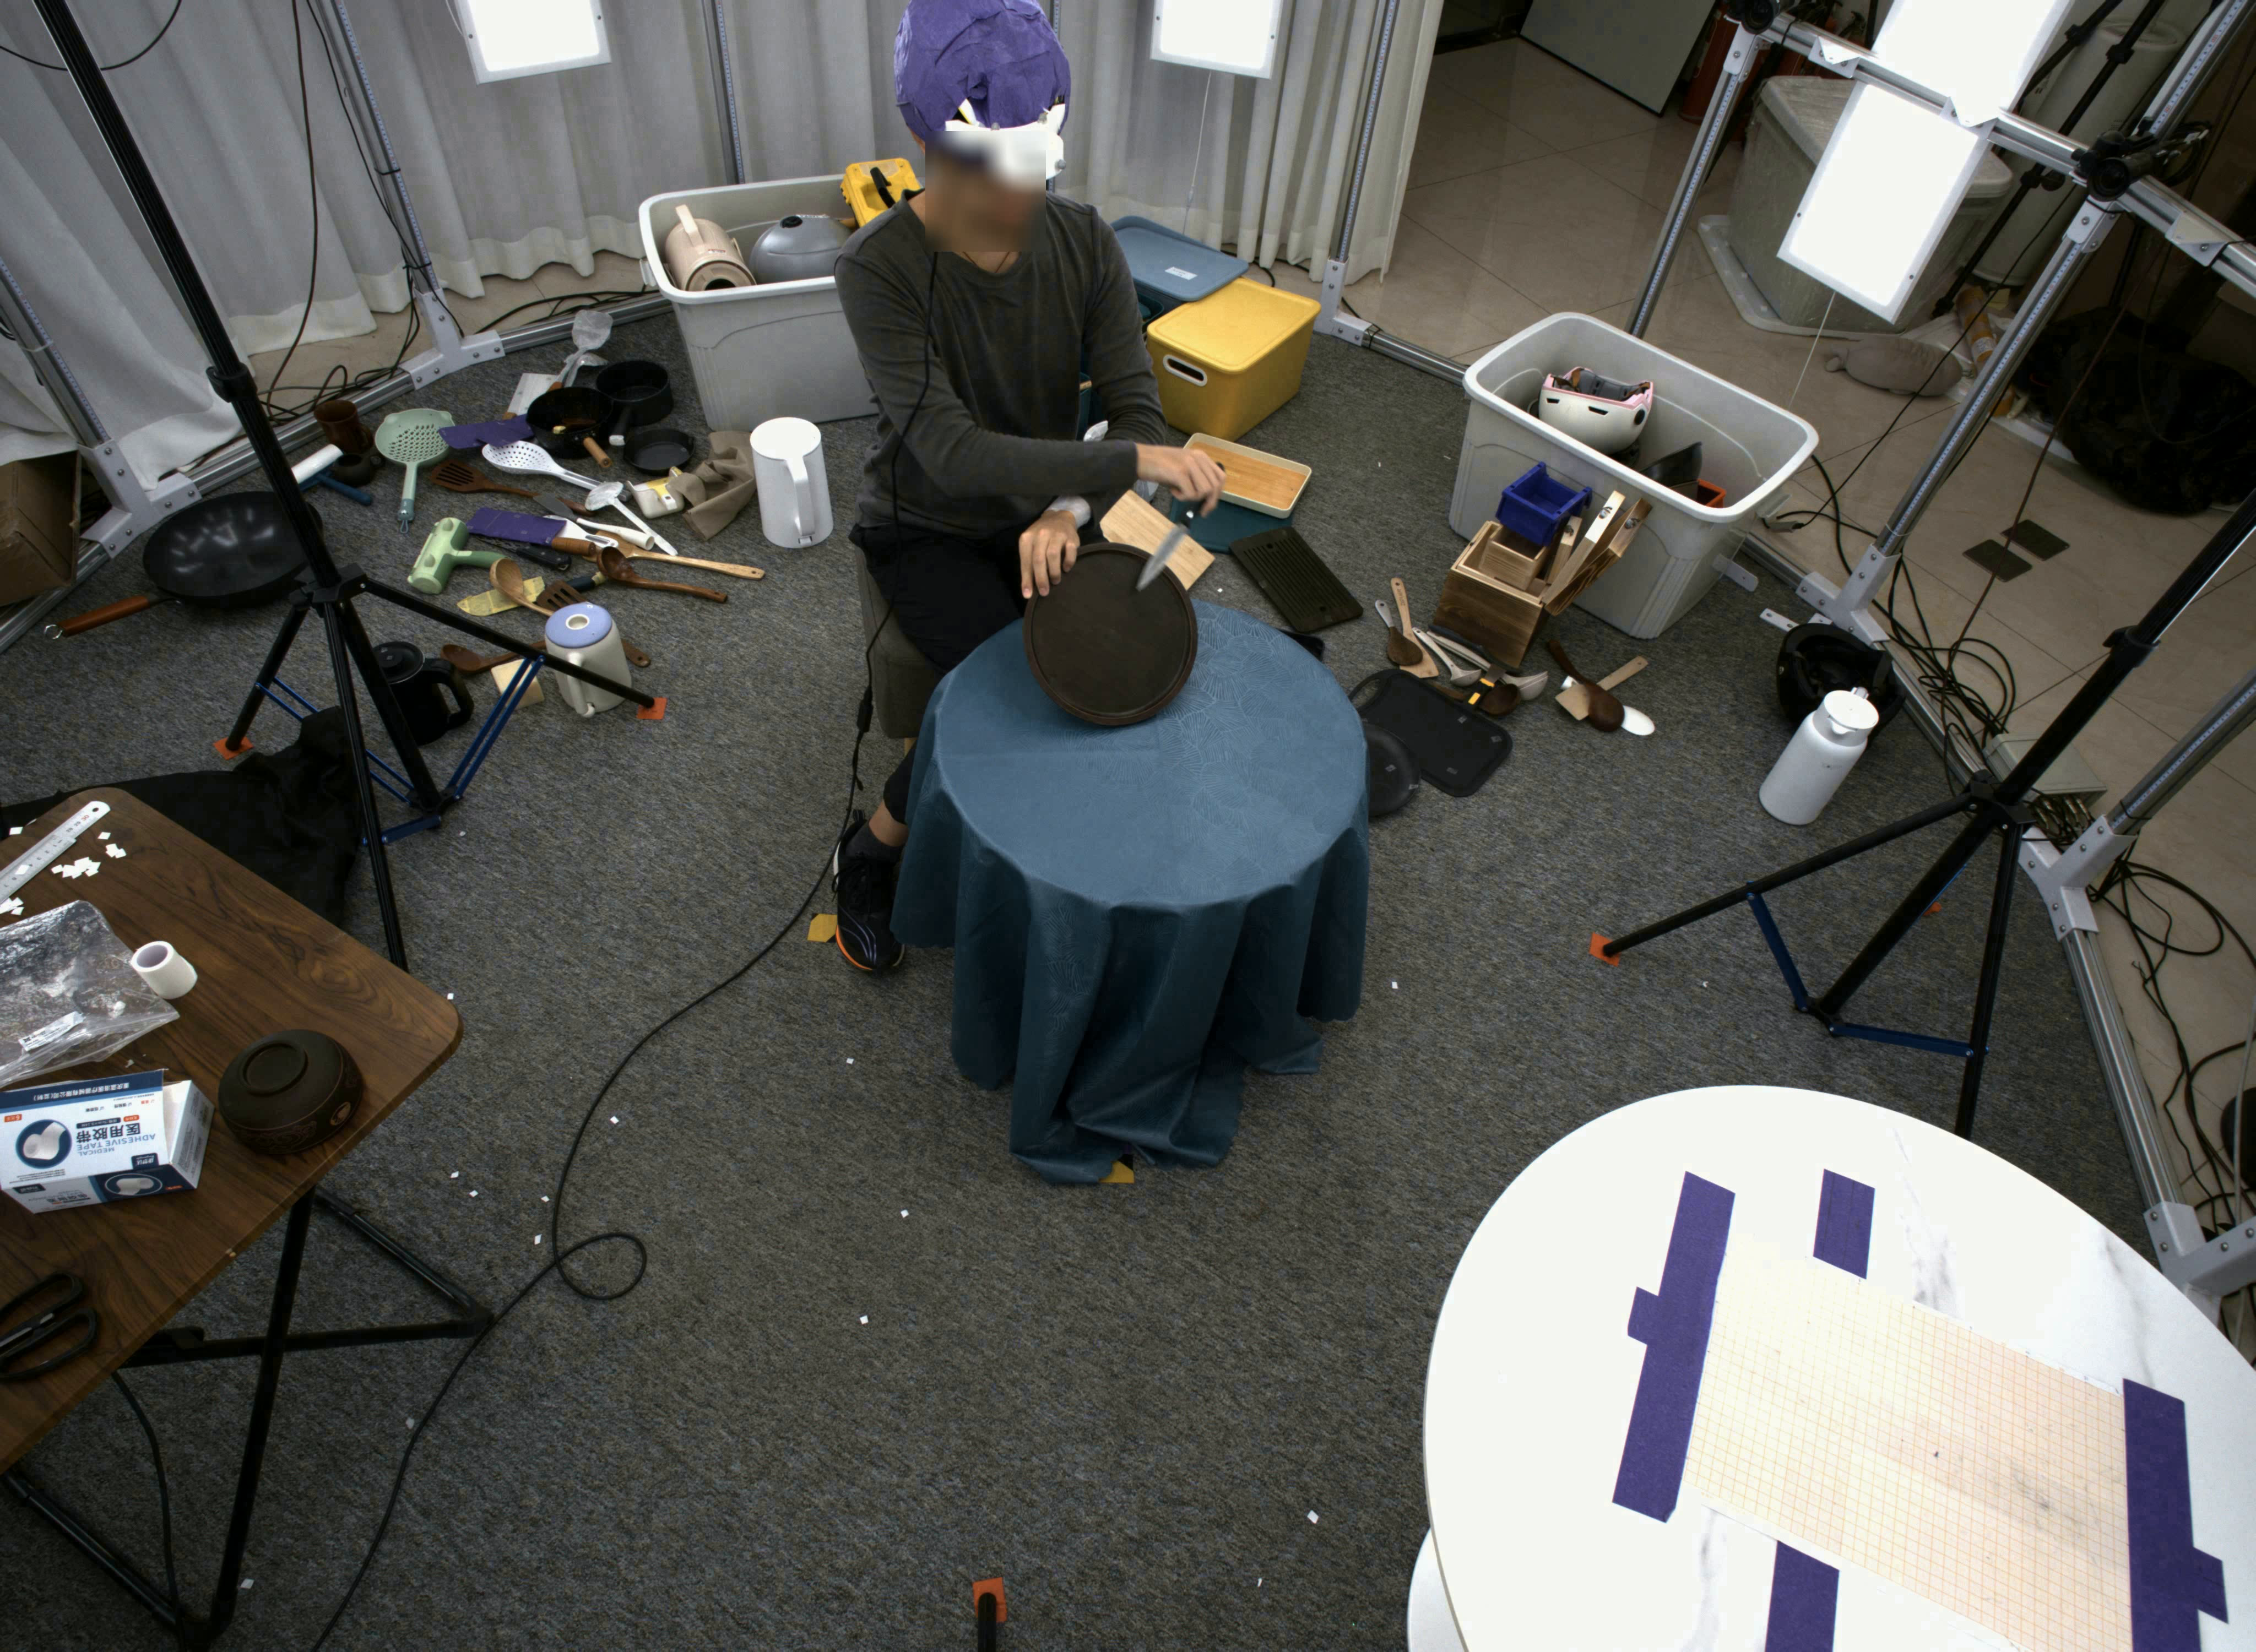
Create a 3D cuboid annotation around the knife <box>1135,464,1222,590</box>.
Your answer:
[{"bbox_3d":[0.068,-0.424,1.815,0.024,0.016,0.241,40,69,-20],"label":"knife"}]

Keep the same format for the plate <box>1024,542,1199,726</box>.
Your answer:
[{"bbox_3d":[-0.023,-0.266,1.786,0.254,0.029,0.255,0,89,-18],"label":"plate"}]
